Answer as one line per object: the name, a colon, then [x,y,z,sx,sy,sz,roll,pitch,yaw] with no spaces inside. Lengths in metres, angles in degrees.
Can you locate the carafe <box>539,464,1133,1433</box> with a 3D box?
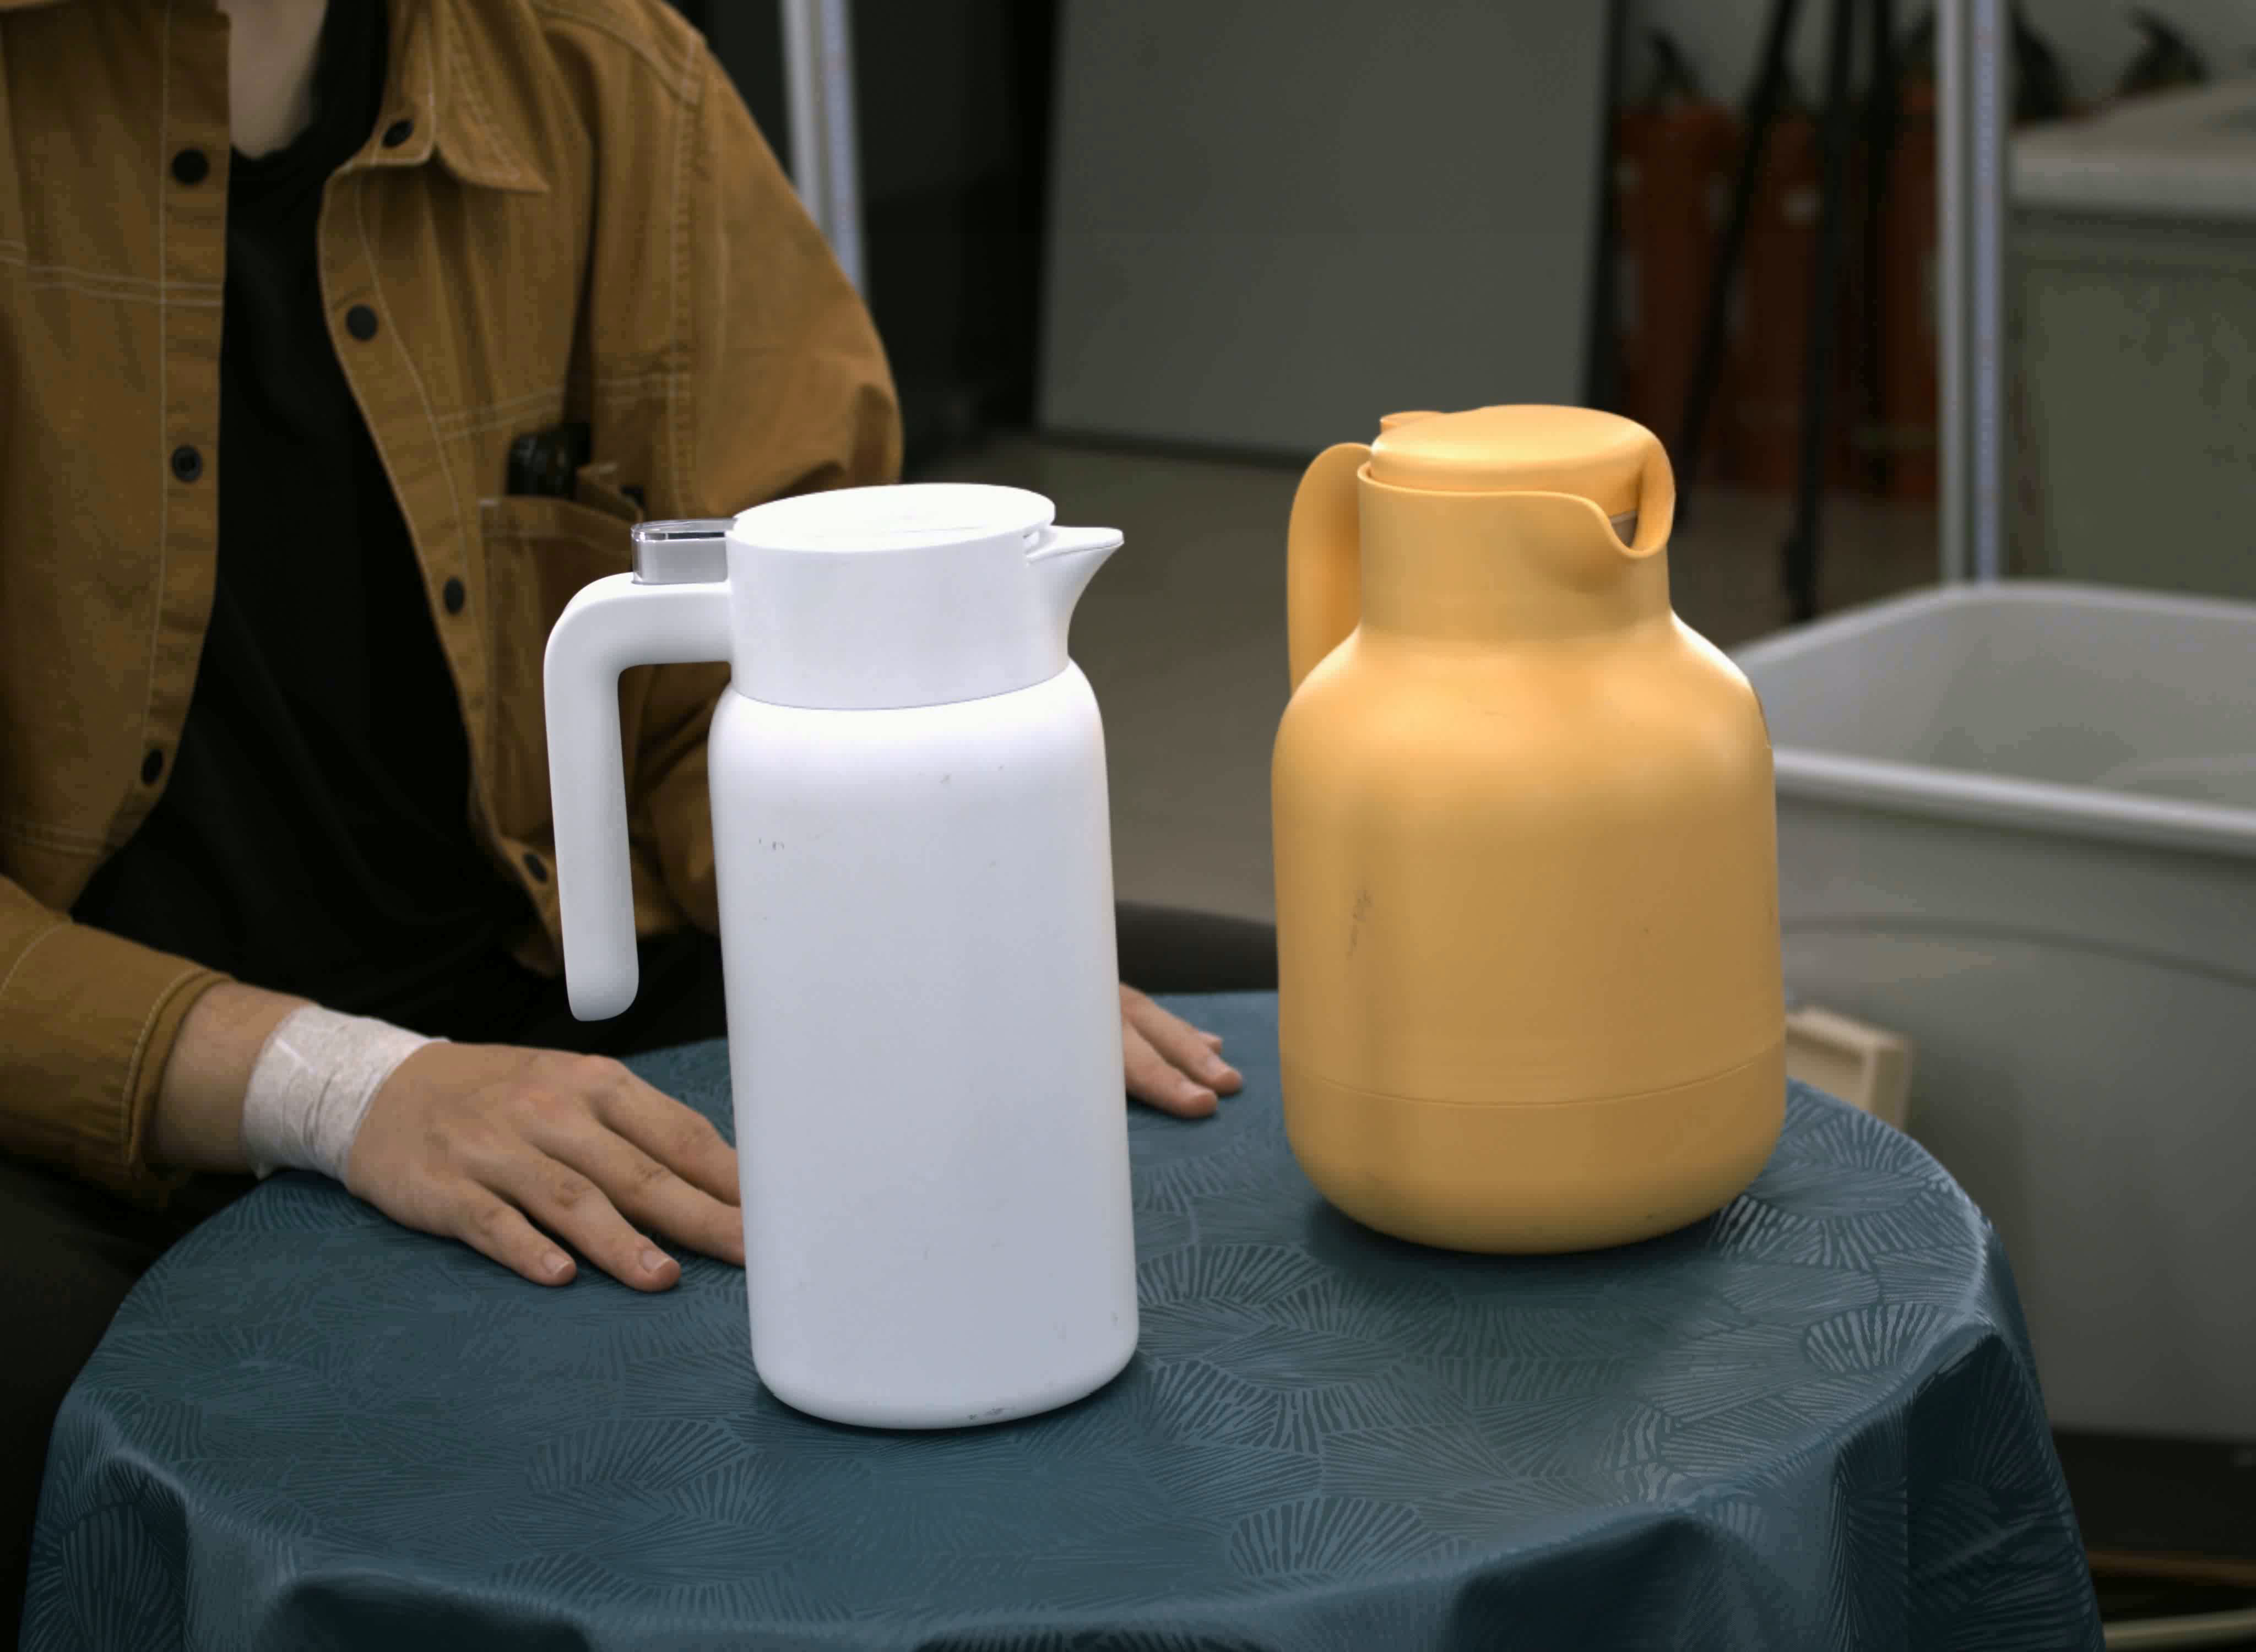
carafe: [-0.080,0.036,1.584,0.171,0.272,0.124,-3,15,3]

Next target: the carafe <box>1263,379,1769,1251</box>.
carafe: [0.115,-0.011,1.720,0.160,0.263,0.204,-7,15,-25]
